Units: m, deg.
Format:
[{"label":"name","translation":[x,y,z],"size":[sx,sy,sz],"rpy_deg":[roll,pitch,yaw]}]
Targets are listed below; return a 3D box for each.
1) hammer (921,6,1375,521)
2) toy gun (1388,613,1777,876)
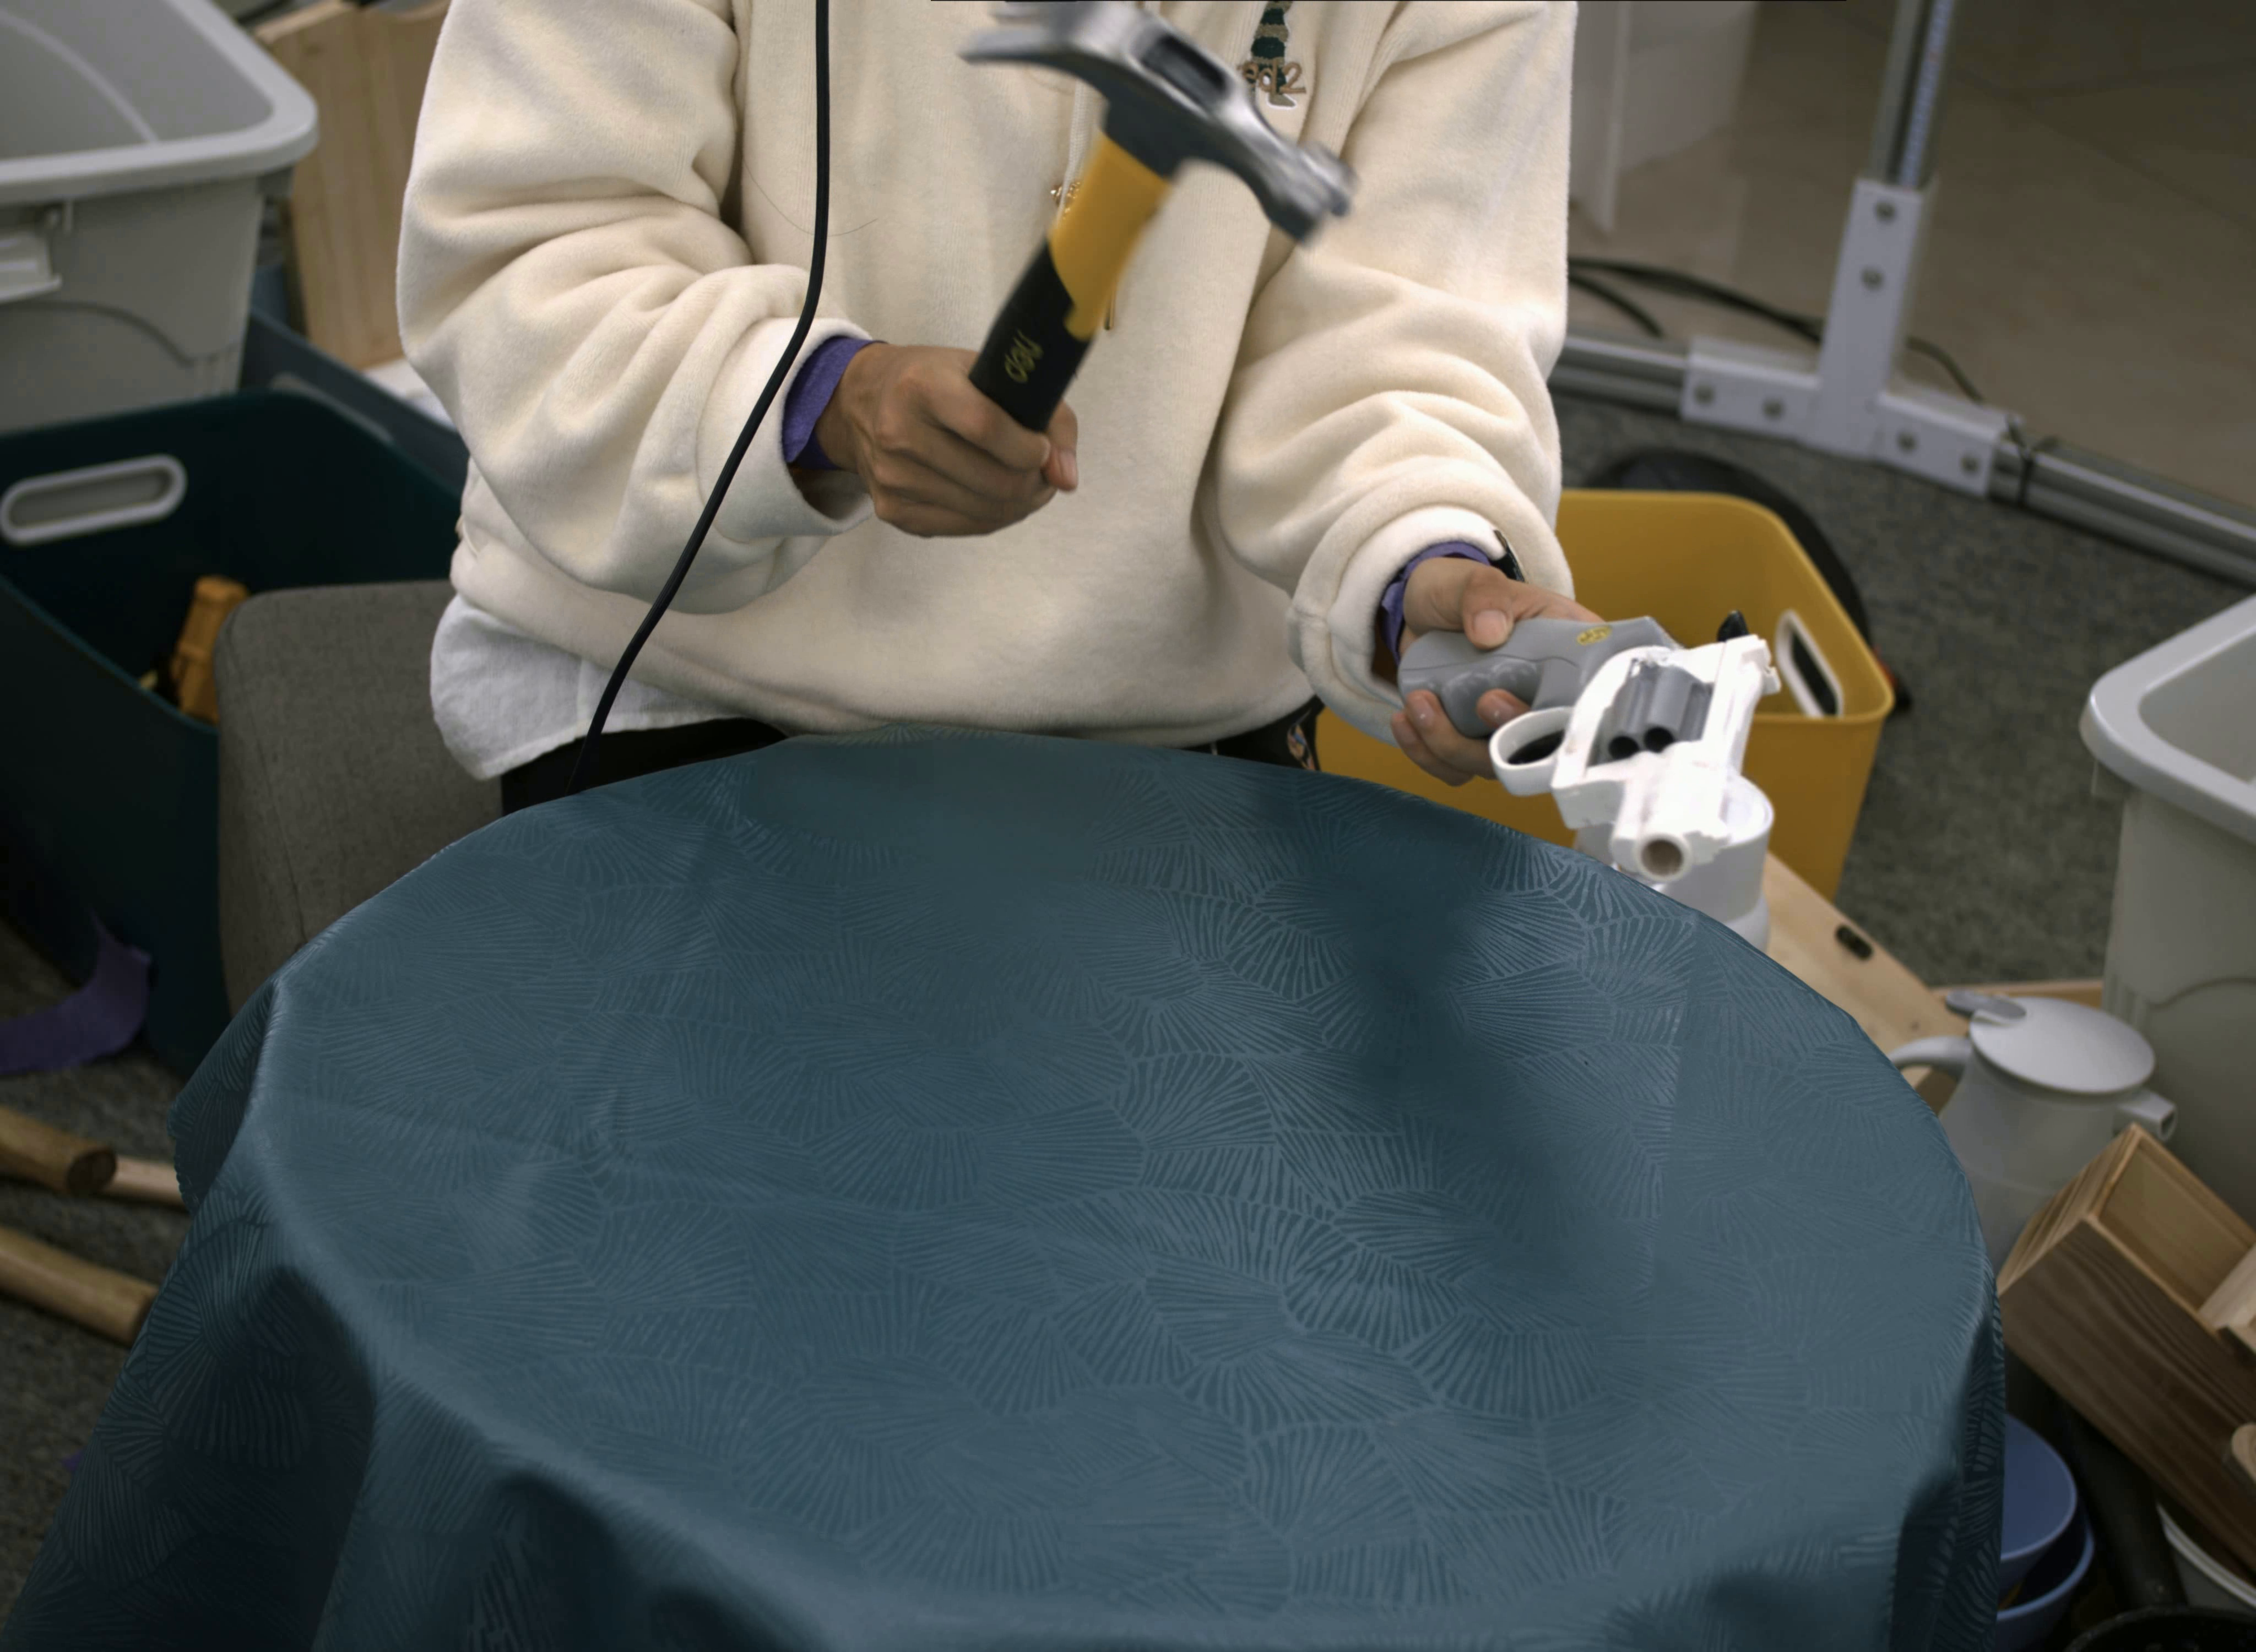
[{"label":"hammer","translation":[-0.018,-0.183,1.852],"size":[0.131,0.338,0.032],"rpy_deg":[38,66,0]},{"label":"toy gun","translation":[0.149,-0.030,1.817],"size":[0.142,0.038,0.210],"rpy_deg":[-13,23,18]}]
